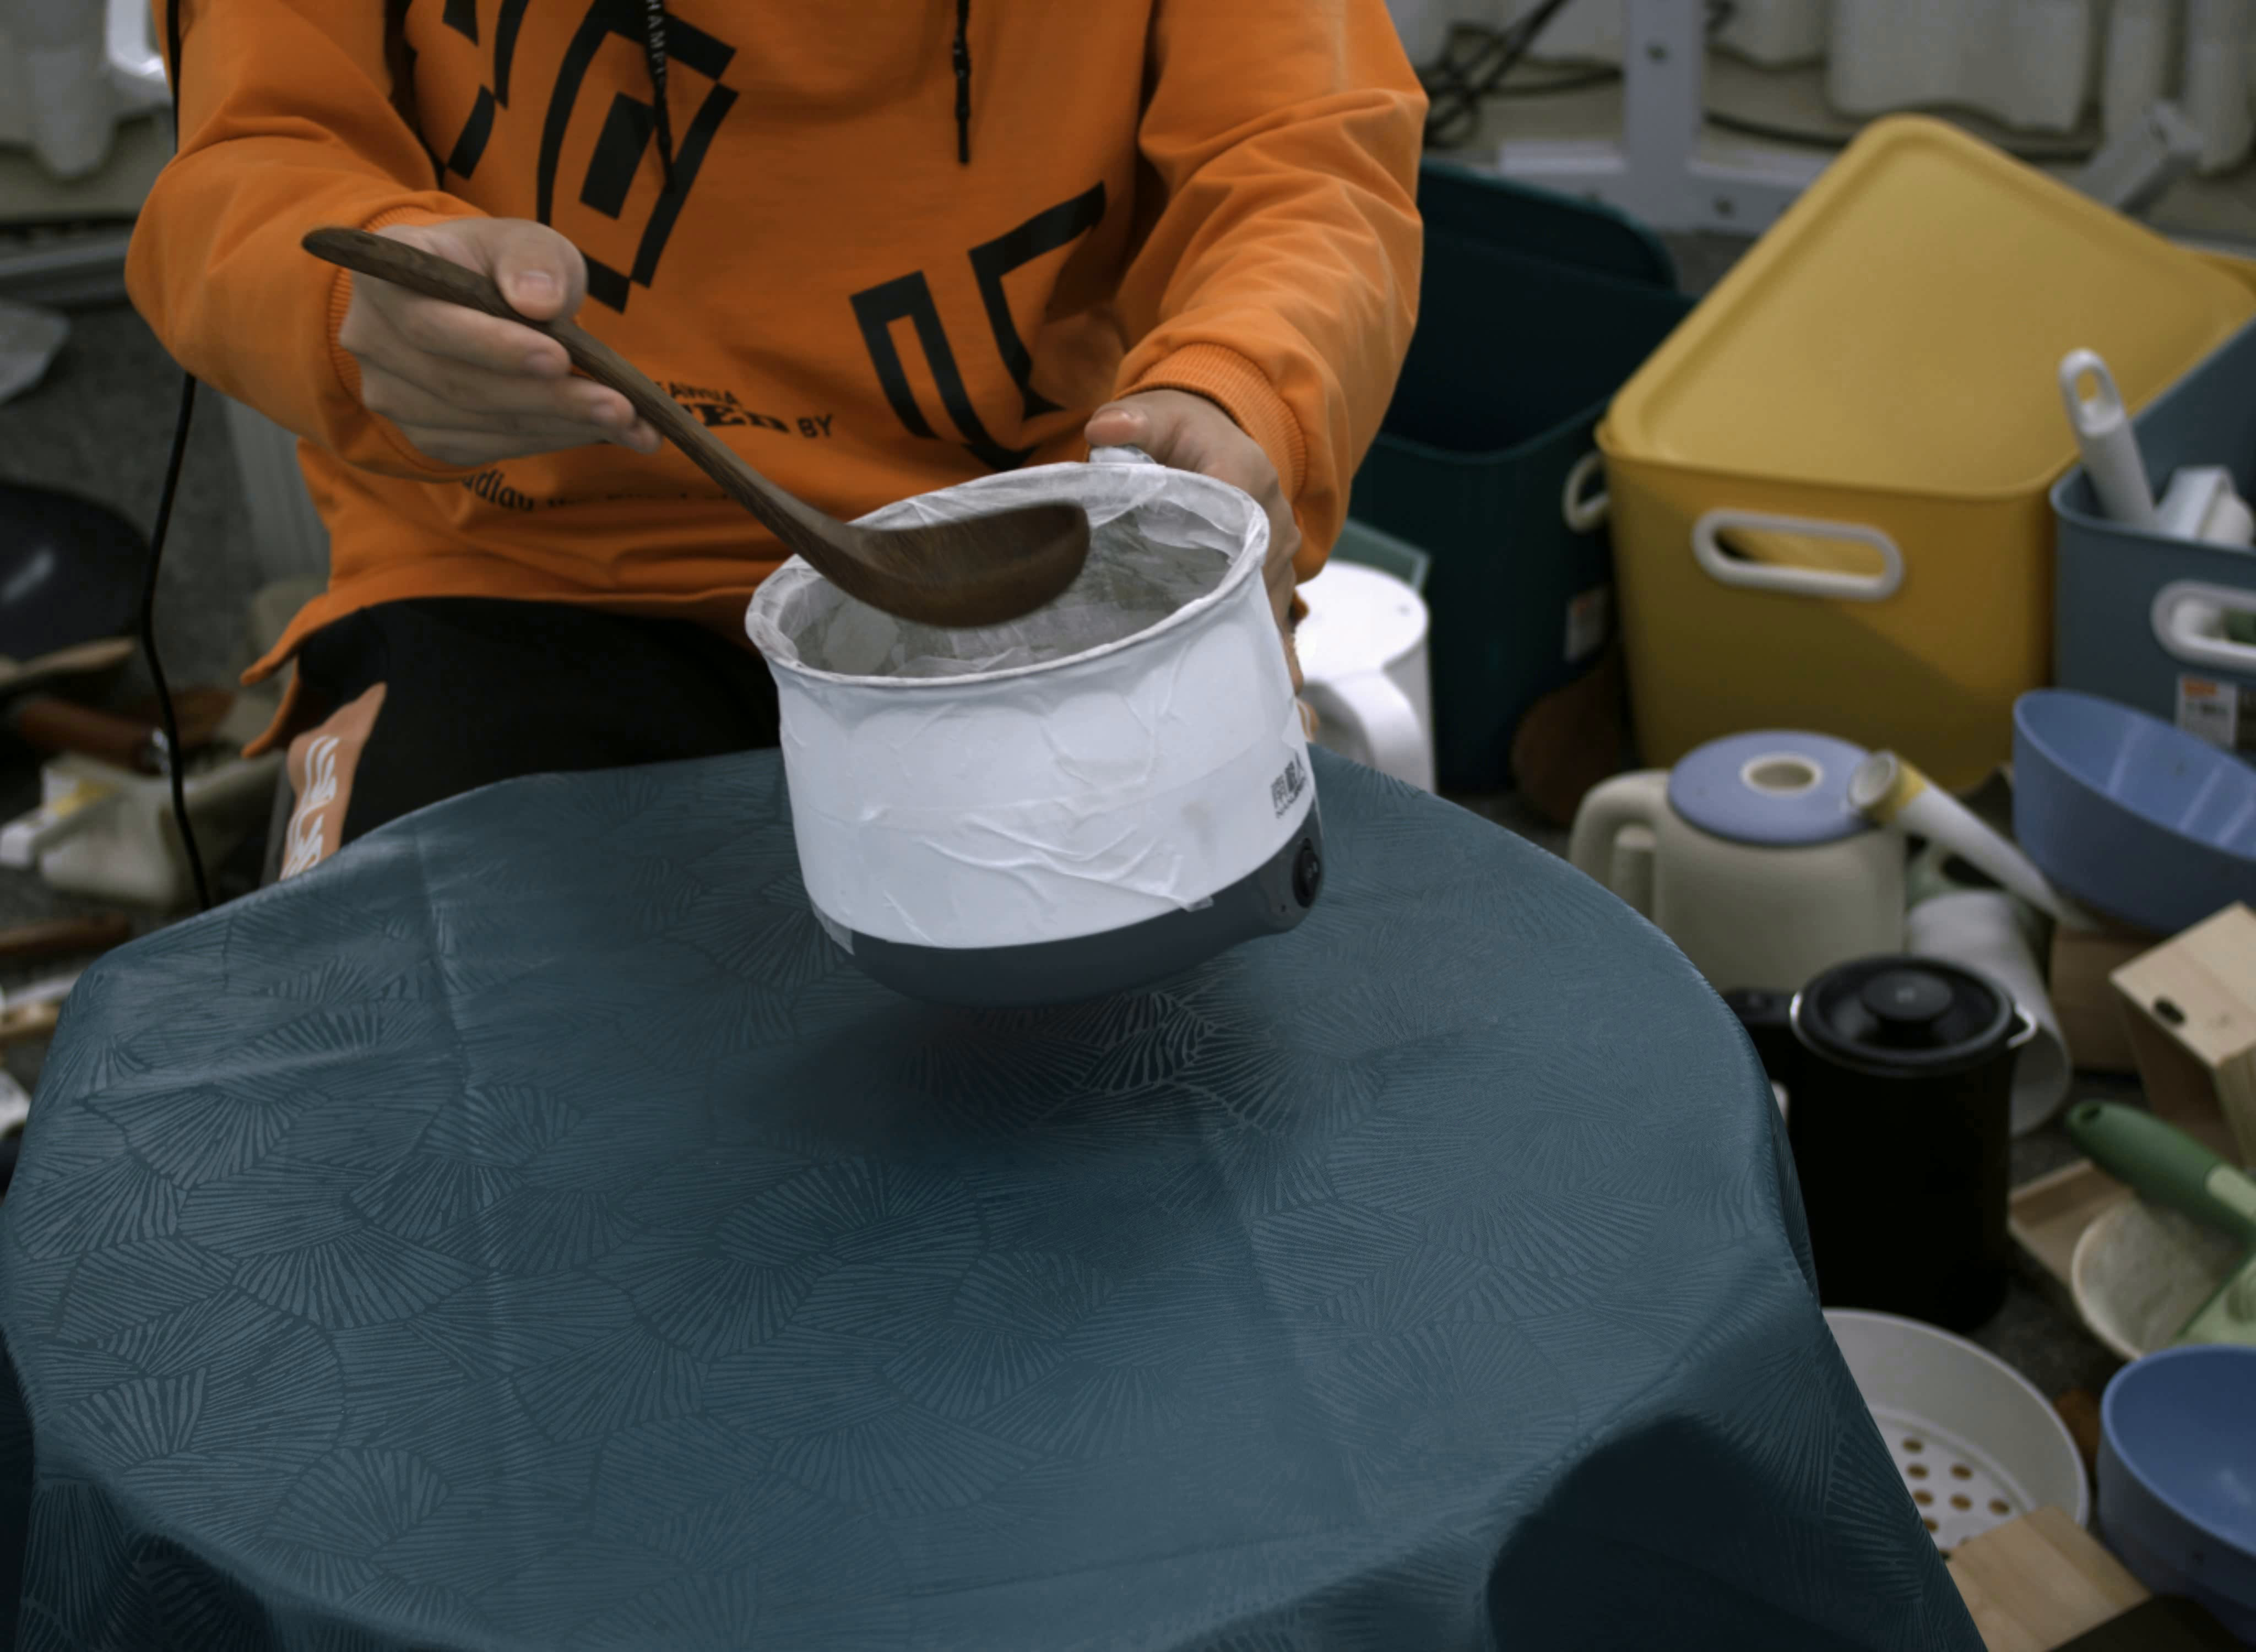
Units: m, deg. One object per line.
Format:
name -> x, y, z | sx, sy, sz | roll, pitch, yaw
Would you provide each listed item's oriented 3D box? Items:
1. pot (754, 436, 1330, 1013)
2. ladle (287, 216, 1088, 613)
pot -> -0.018, -0.041, 1.915 | 0.177, 0.135, 0.238 | -1, 26, 21
ladle -> -0.140, -0.150, 1.845 | 0.273, 0.071, 0.076 | 32, 11, -10
